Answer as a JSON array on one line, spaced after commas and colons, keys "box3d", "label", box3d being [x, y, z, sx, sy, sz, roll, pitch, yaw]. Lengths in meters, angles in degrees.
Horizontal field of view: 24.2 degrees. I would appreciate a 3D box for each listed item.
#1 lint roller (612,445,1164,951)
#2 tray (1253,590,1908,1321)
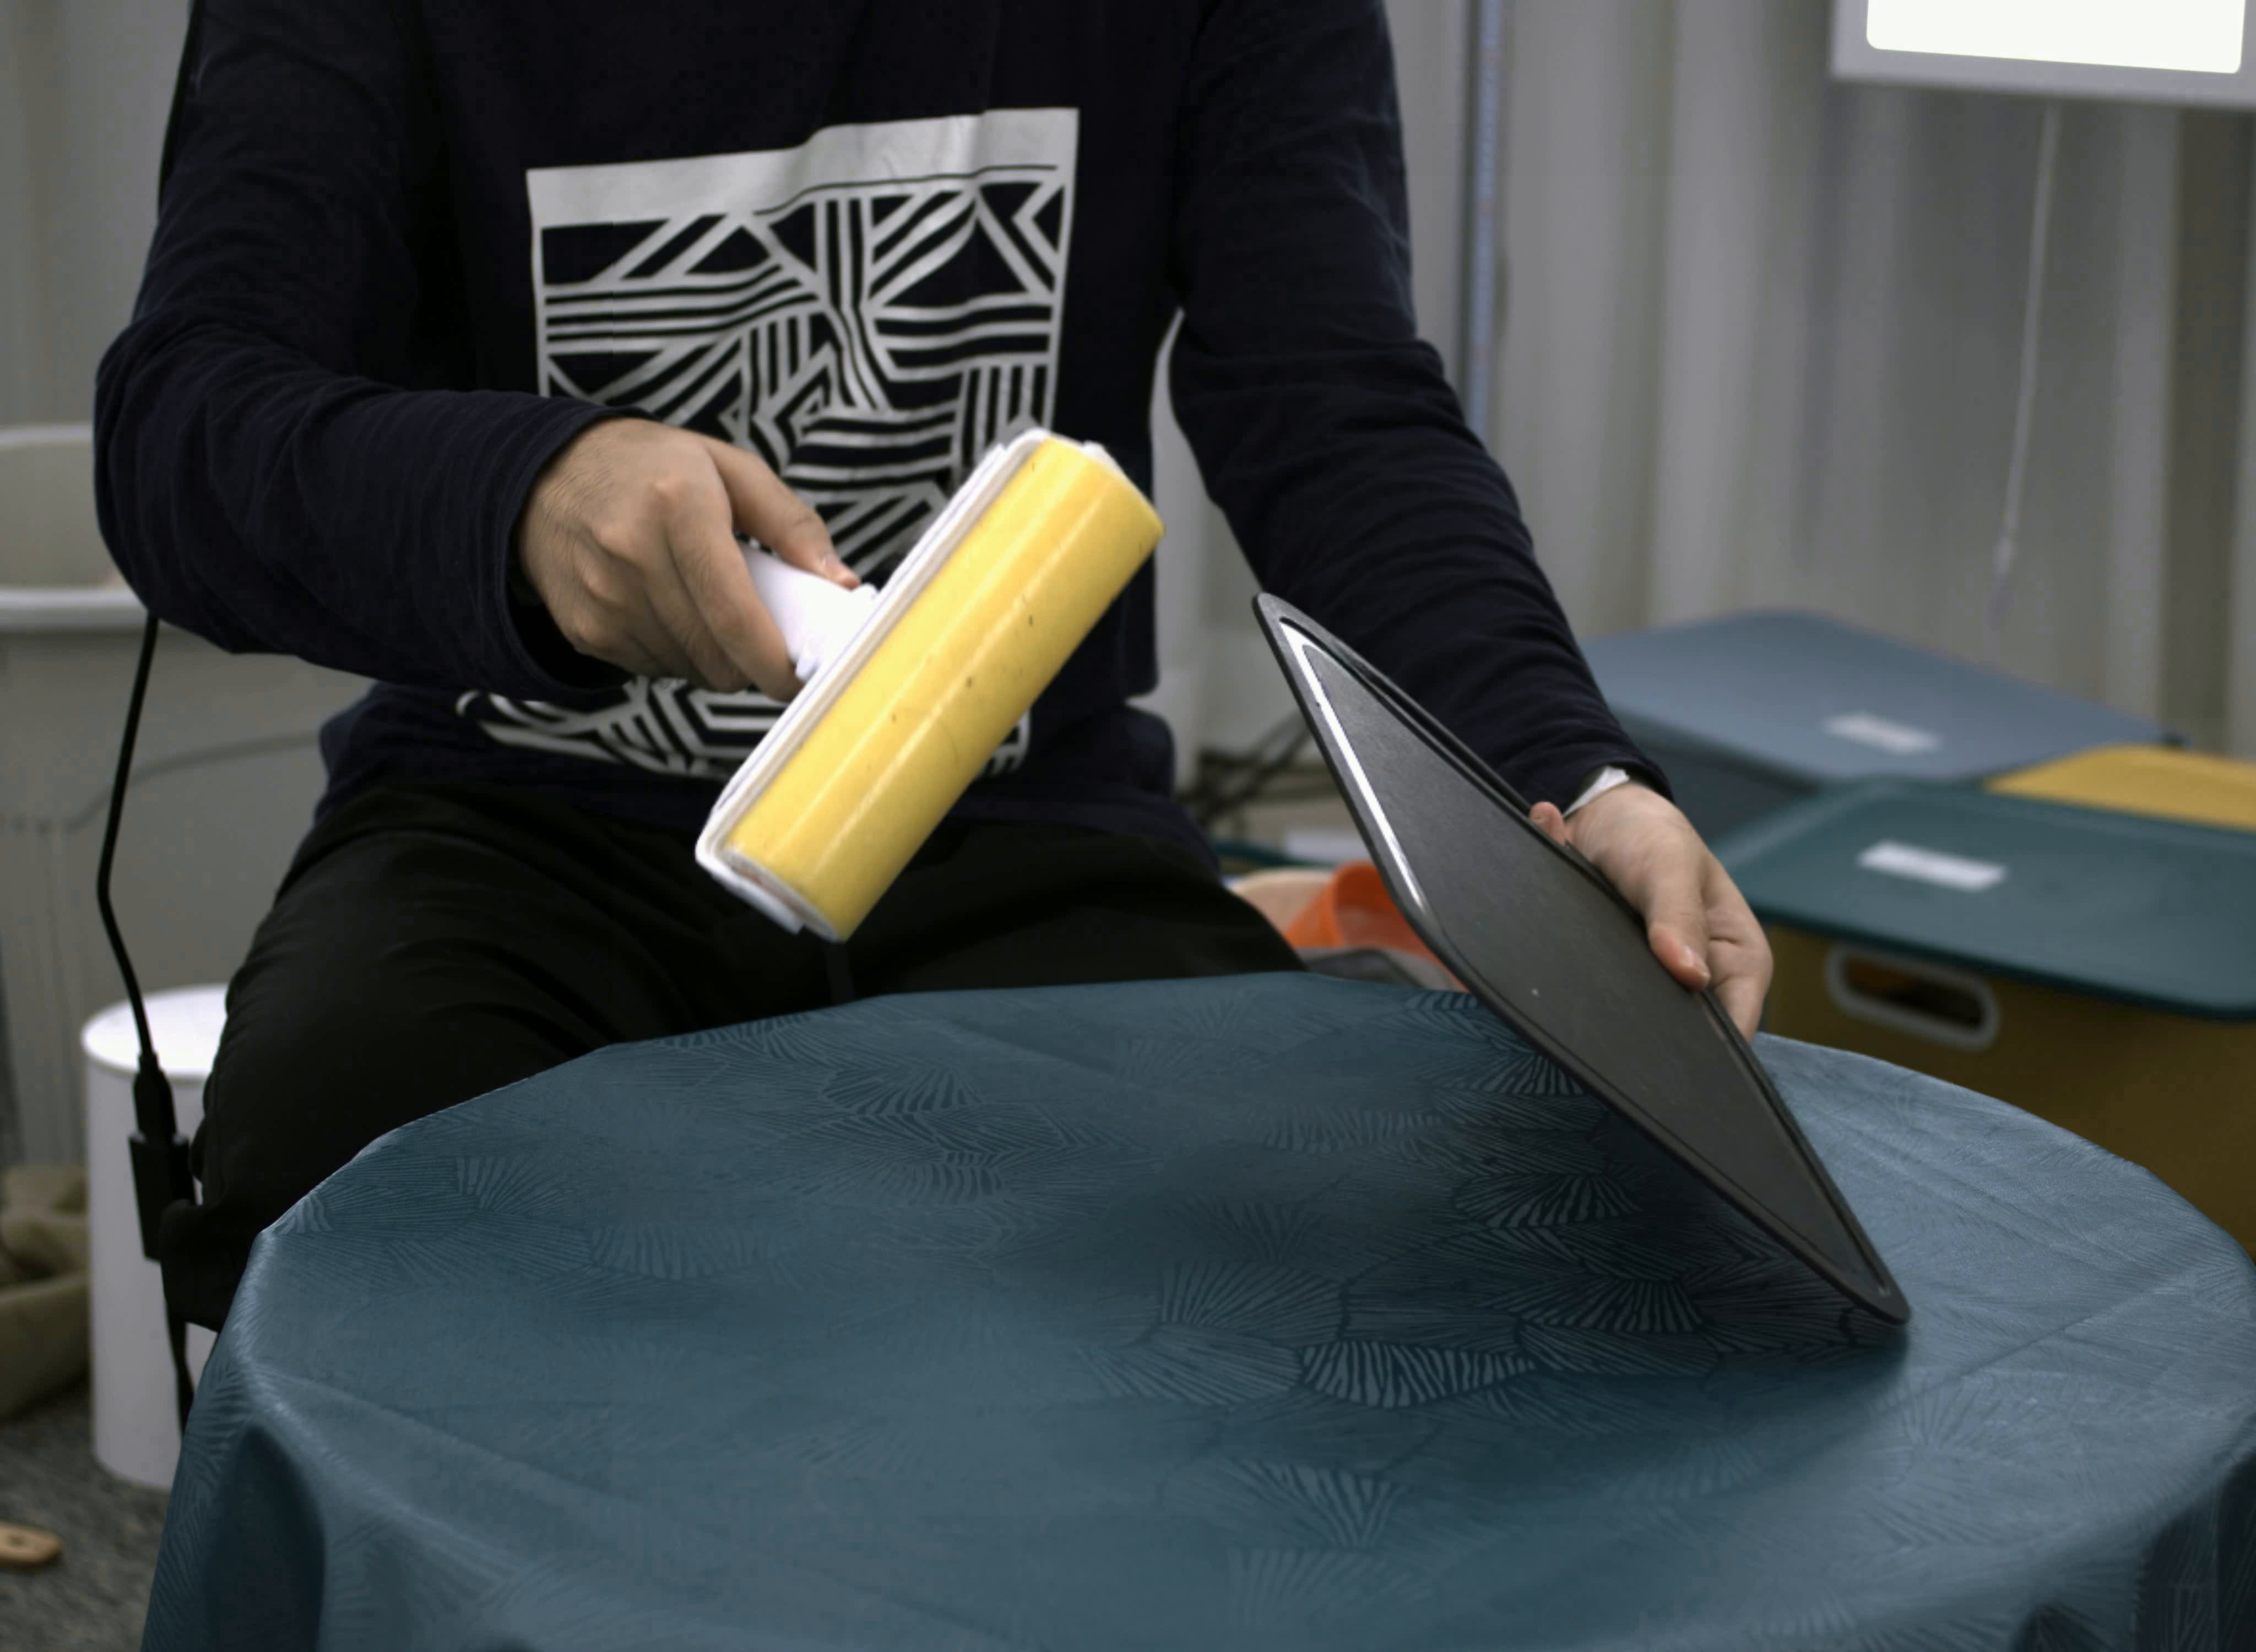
[{"box3d": [-0.104, -0.064, 1.633, 0.189, 0.052, 0.174, 28, 75, 37], "label": "lint roller"}, {"box3d": [0.131, 0.028, 1.594, 0.213, 0.010, 0.322, 39, 12, -22], "label": "tray"}]
